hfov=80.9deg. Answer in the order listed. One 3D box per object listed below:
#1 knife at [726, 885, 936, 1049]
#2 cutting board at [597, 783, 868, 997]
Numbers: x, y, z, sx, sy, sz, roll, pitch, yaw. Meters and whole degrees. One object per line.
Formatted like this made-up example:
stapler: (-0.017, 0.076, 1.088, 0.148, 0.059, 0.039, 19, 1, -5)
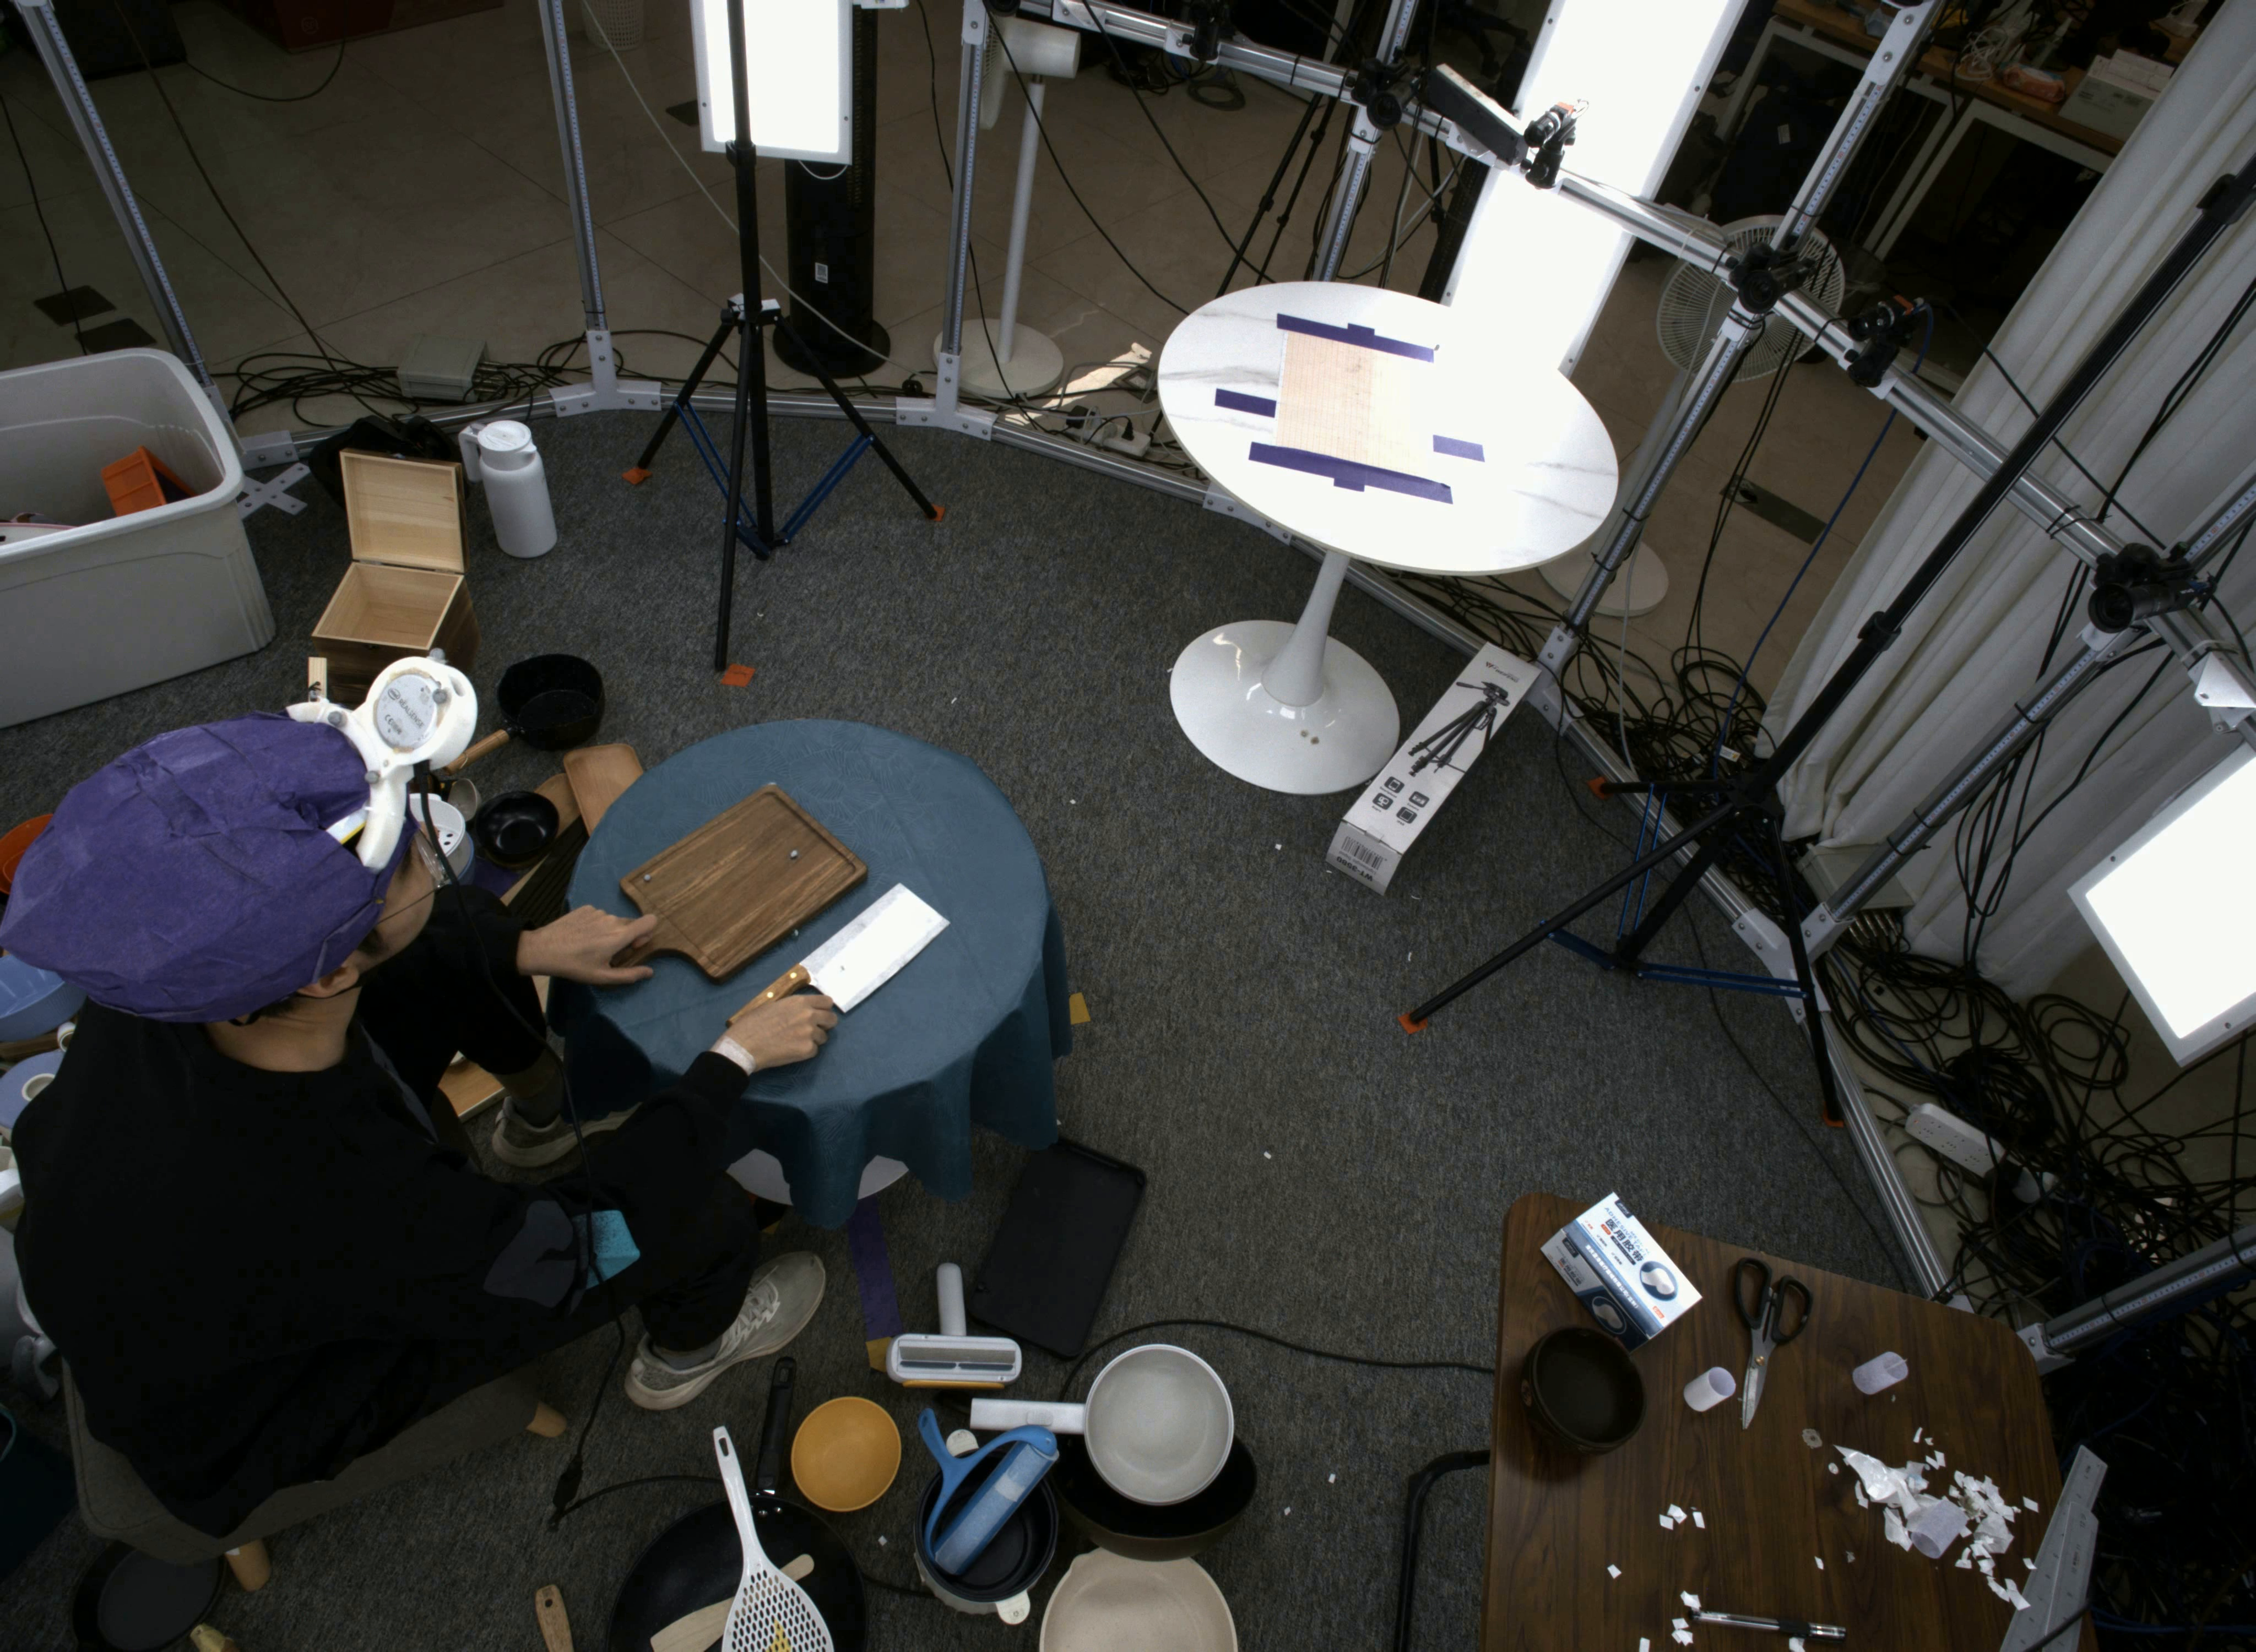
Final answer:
knife: (-0.352, 0.178, 1.589, 0.091, 0.021, 0.306, 38, 51, 12)
cutting board: (-0.516, 0.093, 1.606, 0.197, 0.023, 0.352, 39, 54, 15)
